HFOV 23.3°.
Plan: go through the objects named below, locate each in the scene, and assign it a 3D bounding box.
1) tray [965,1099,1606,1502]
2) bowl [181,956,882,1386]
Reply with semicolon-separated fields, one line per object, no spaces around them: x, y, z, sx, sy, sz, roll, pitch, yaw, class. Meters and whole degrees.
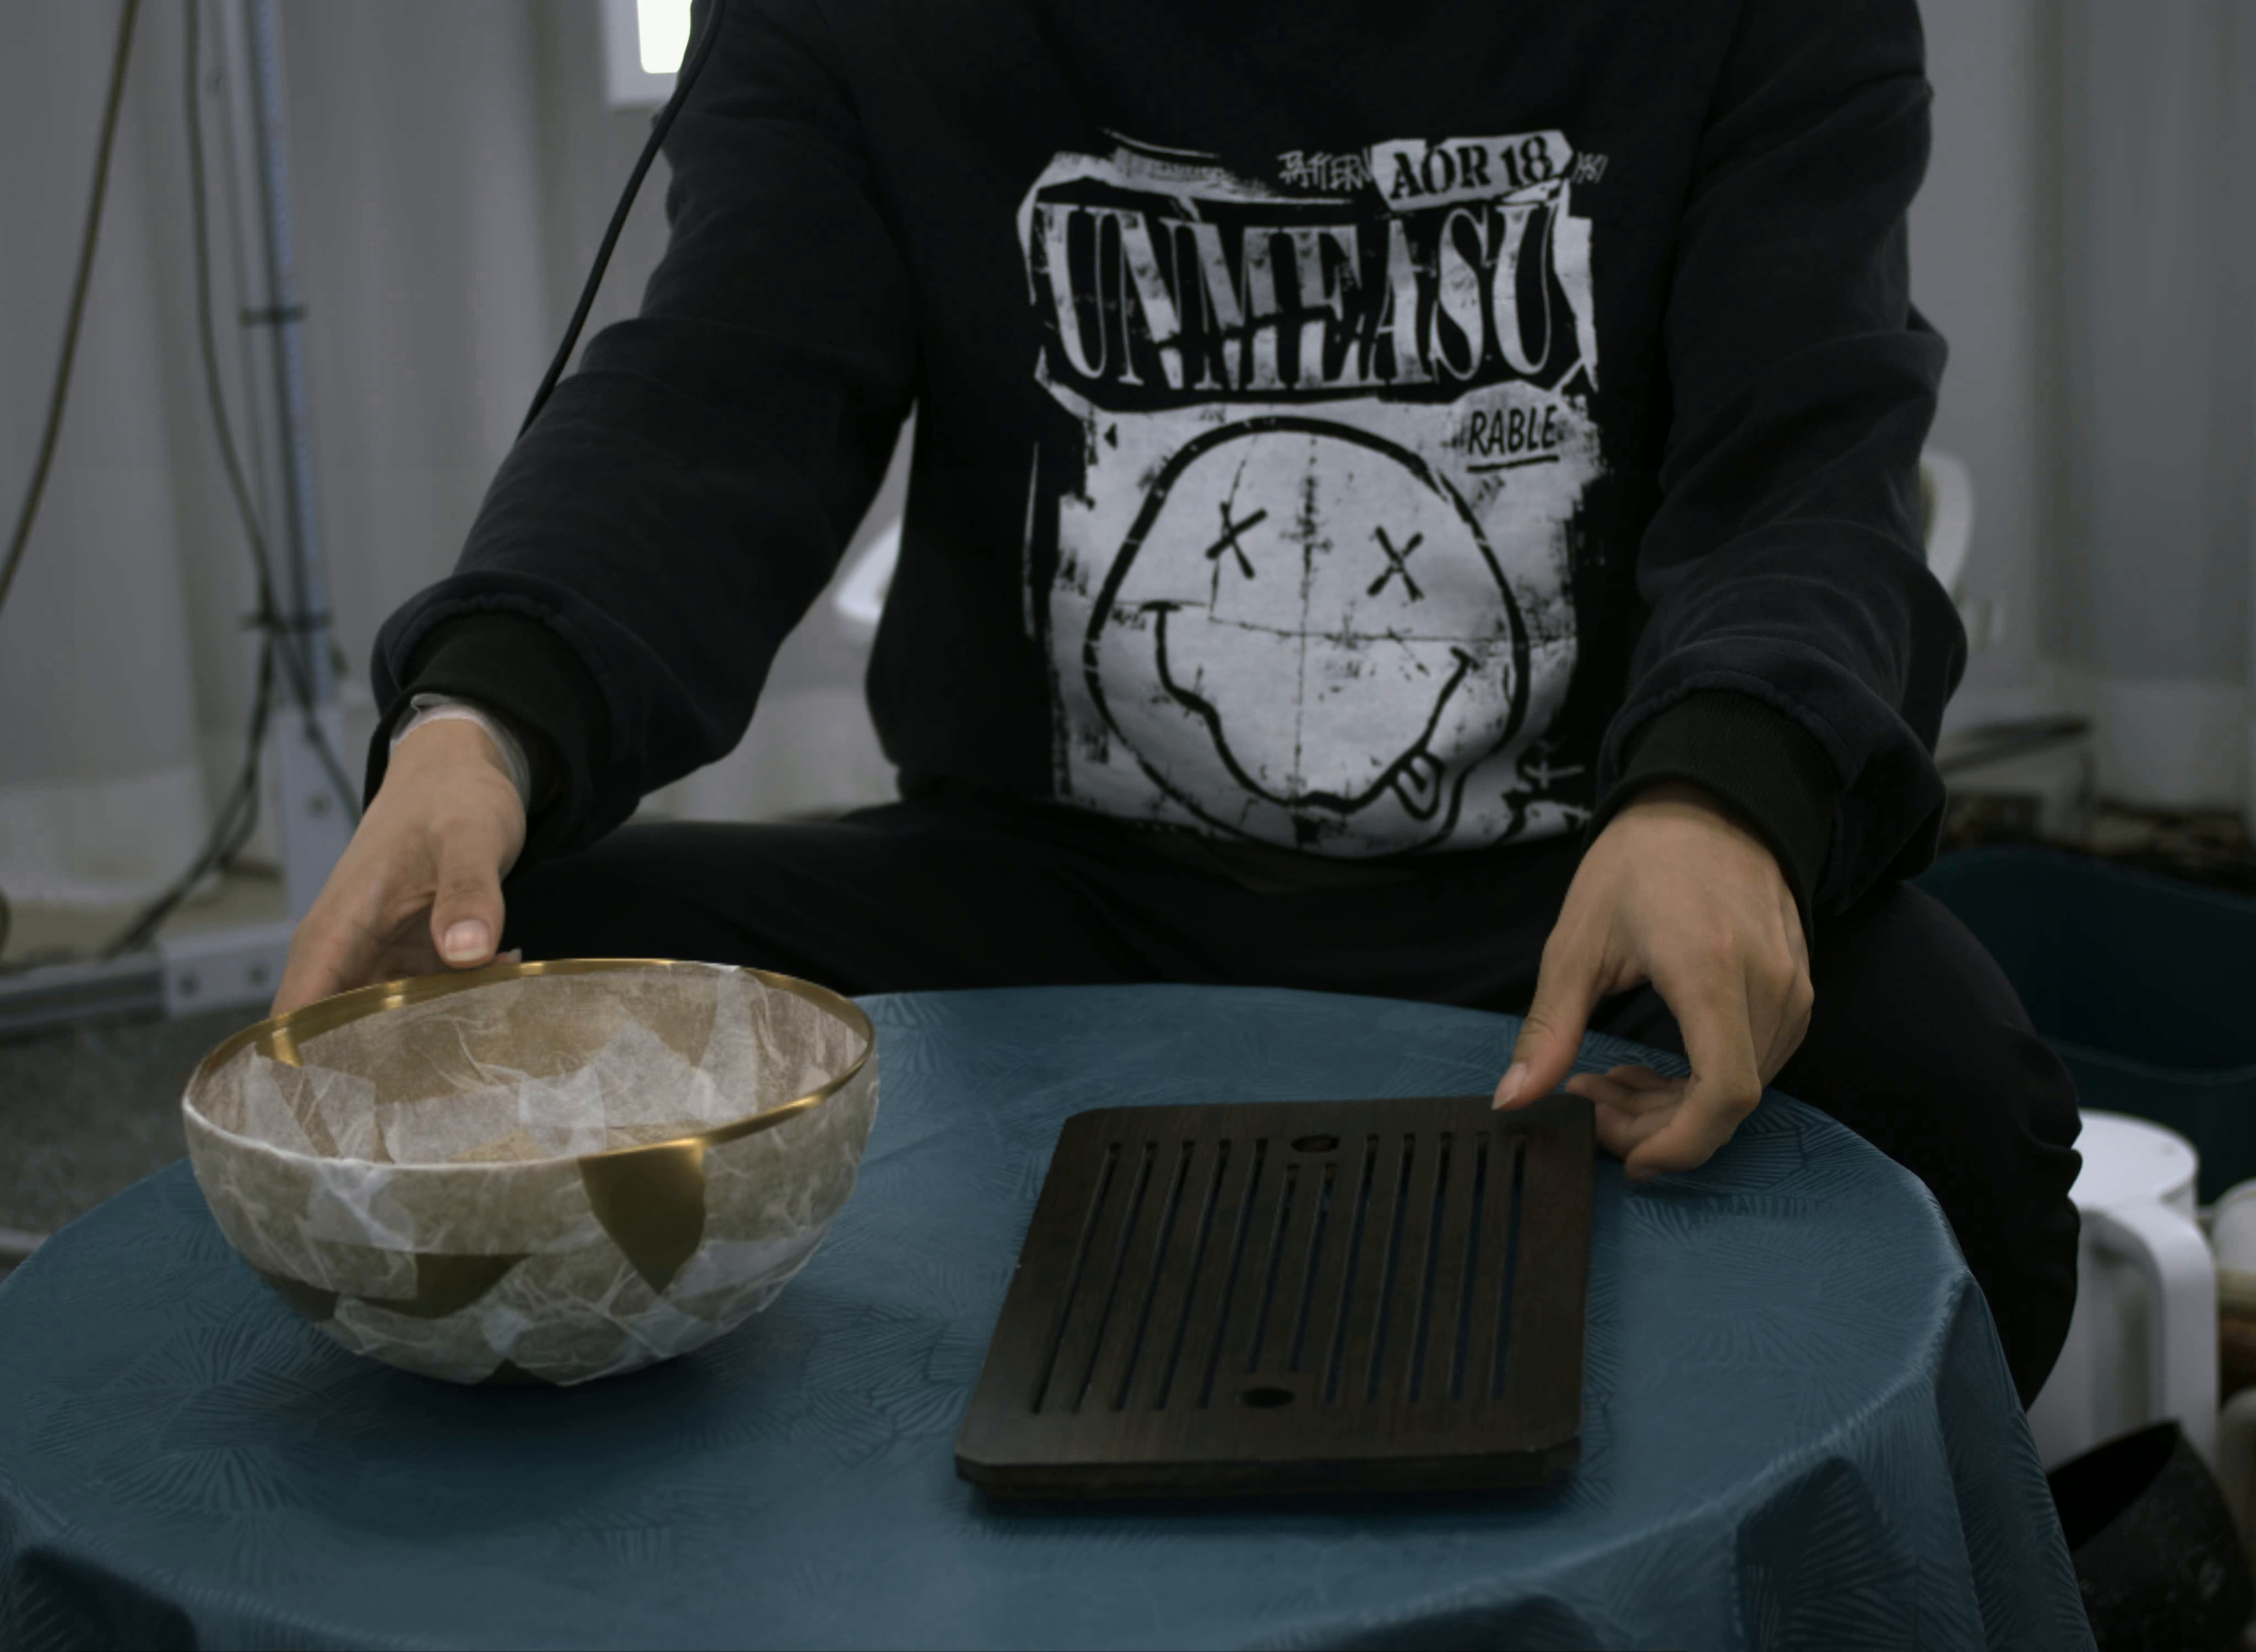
0.054;0.136;1.590;0.170;0.018;0.308;-2;15;6;tray
-0.166;0.108;1.593;0.214;0.094;0.216;-4;14;1;bowl
